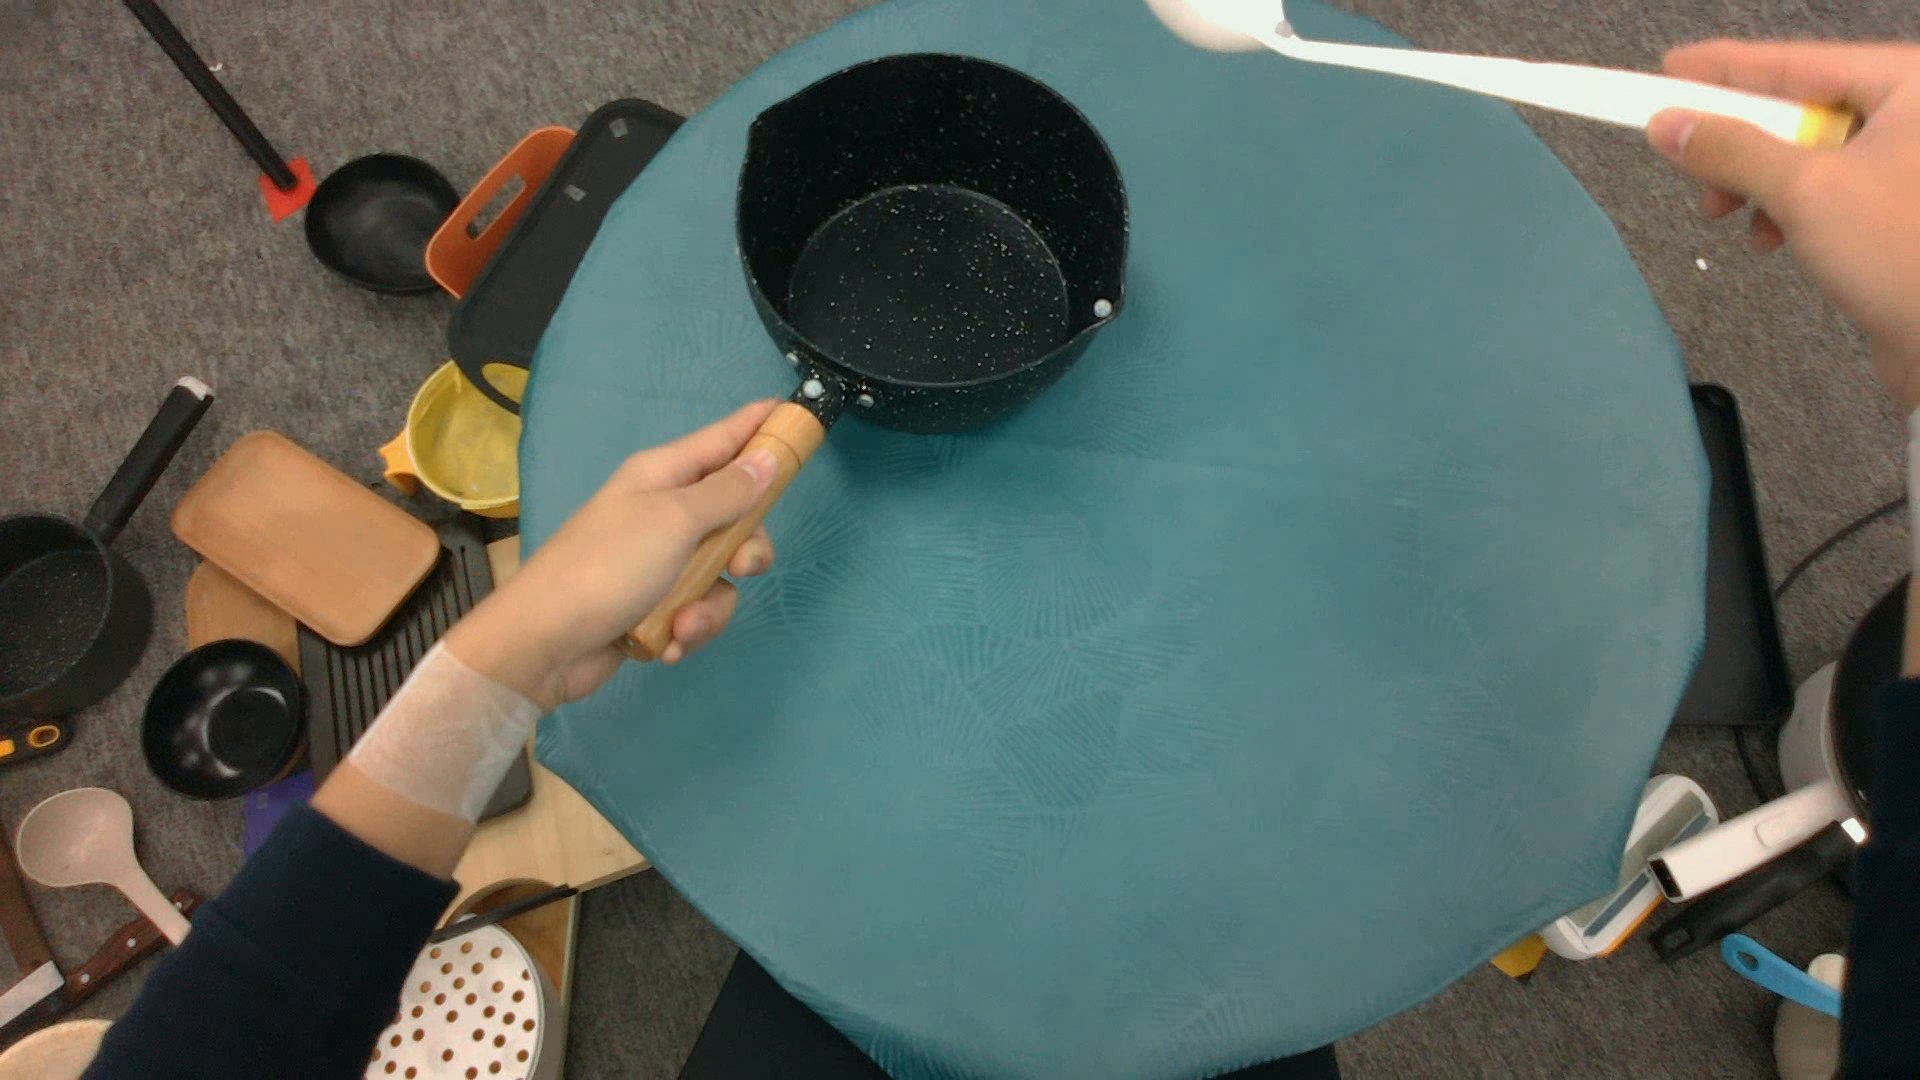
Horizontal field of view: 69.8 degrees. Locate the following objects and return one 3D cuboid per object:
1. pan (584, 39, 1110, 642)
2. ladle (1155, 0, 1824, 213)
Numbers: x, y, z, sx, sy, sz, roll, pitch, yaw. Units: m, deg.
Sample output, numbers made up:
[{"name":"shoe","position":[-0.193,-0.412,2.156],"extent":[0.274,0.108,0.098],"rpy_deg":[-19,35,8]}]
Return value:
[{"name":"pan","position":[-0.060,-0.084,0.642],"extent":[0.207,0.108,0.344],"rpy_deg":[27,68,6]},{"name":"ladle","position":[0.190,-0.207,0.543],"extent":[0.293,0.090,0.070],"rpy_deg":[31,111,32]}]
